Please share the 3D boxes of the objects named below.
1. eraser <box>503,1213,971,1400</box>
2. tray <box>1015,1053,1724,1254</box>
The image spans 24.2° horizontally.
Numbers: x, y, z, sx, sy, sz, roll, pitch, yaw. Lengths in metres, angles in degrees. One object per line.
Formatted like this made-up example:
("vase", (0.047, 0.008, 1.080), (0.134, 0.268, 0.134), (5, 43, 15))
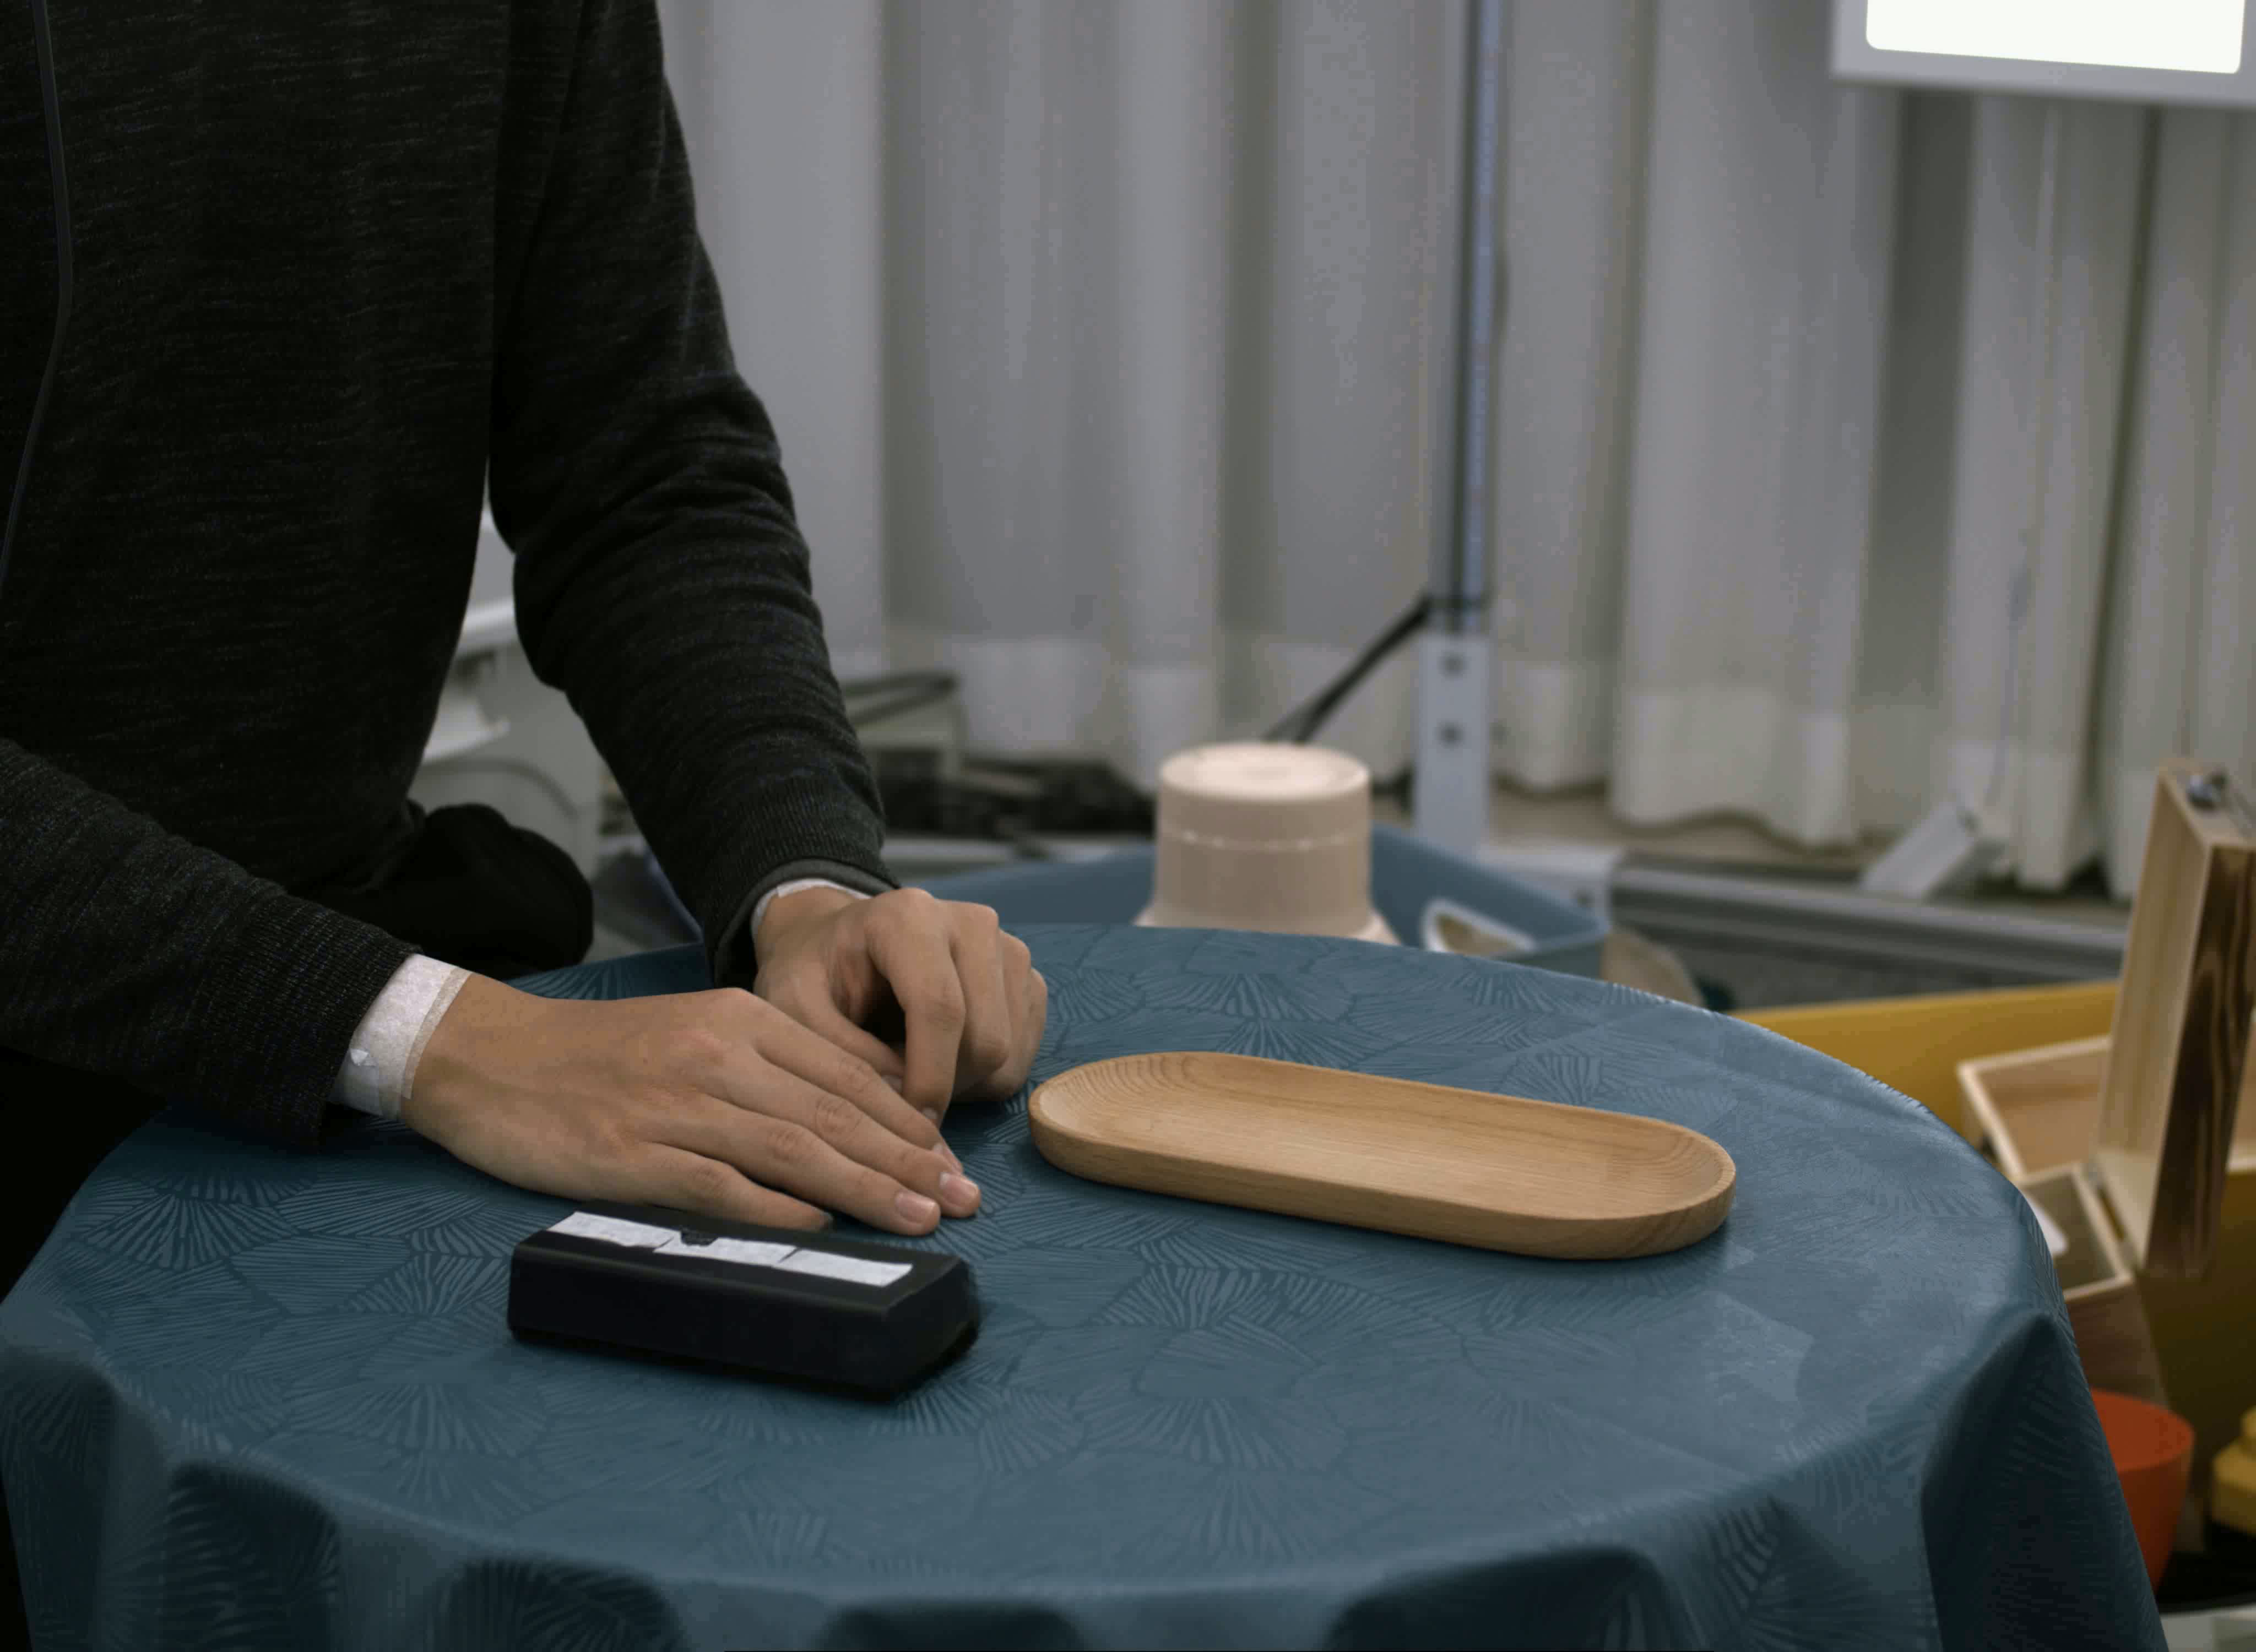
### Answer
("eraser", (-0.110, 0.134, 1.485), (0.124, 0.030, 0.053), (6, 14, 23))
("tray", (0.073, 0.101, 1.633), (0.229, 0.020, 0.102), (6, 15, 25))
